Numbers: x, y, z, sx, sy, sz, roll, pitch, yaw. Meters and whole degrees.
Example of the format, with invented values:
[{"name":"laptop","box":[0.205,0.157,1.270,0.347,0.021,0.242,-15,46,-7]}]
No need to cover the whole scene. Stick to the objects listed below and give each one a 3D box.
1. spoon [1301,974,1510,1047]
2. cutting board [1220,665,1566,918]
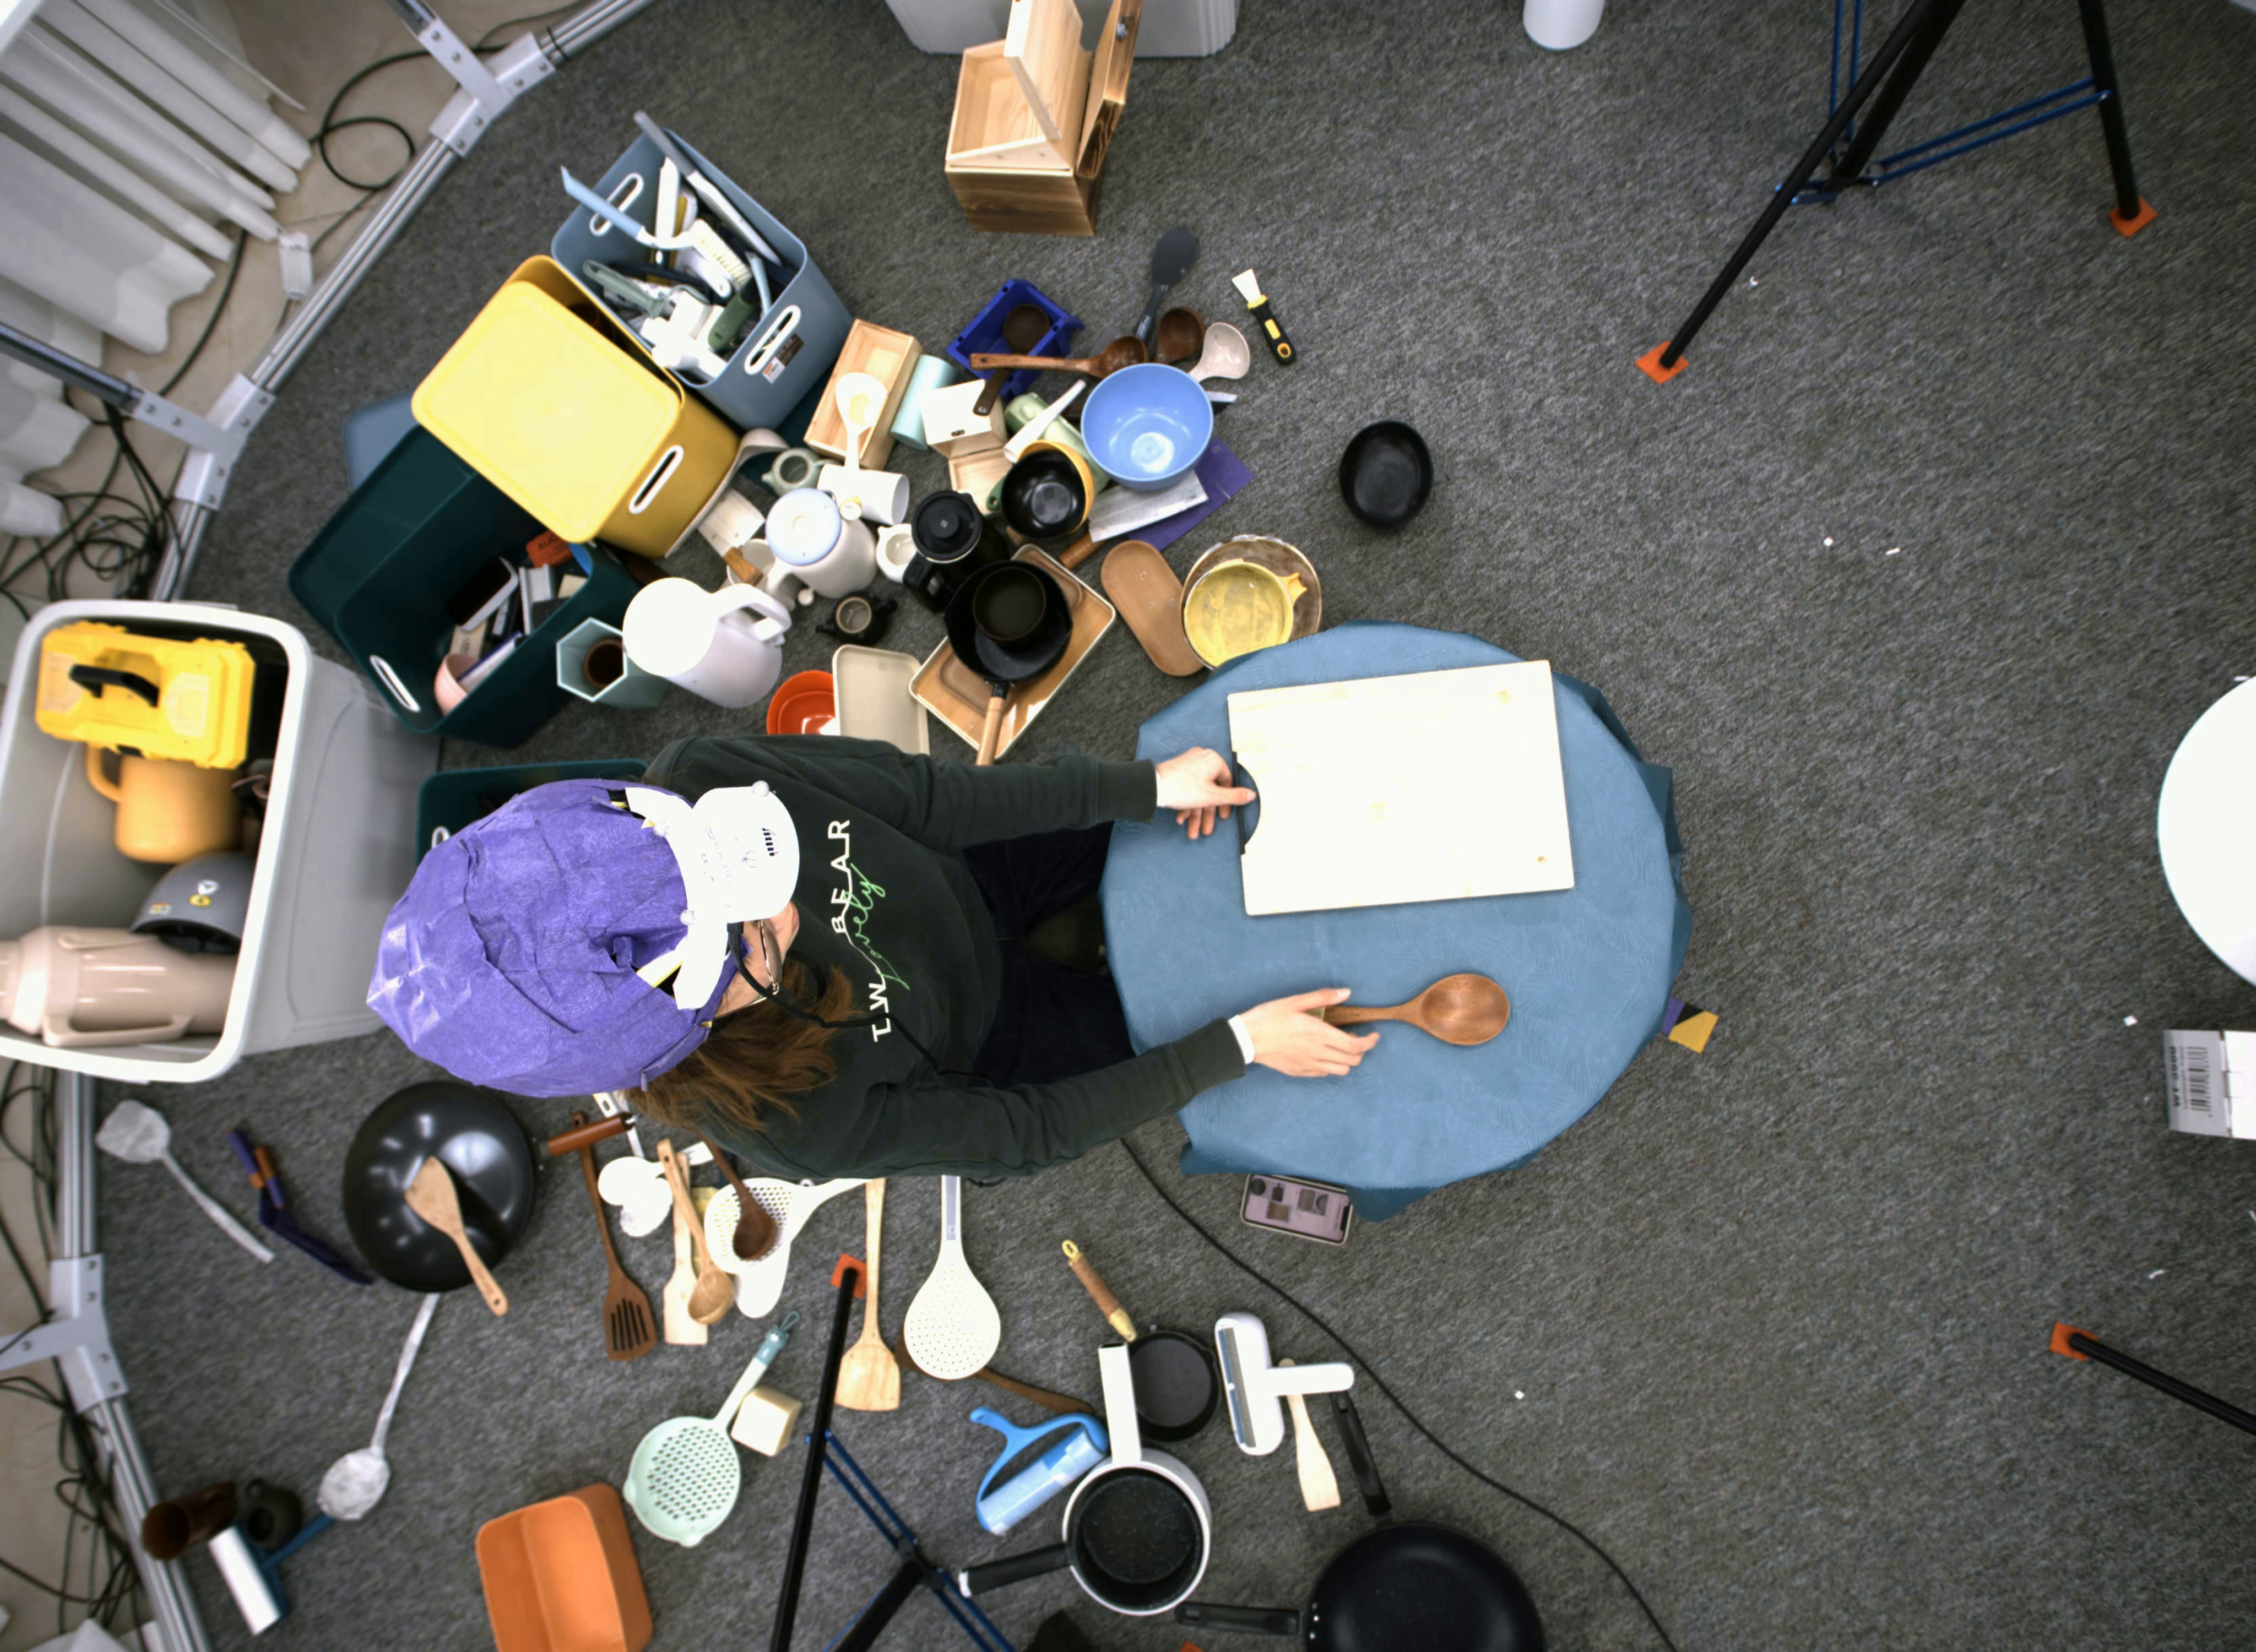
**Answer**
[{"name":"spoon","box":[0.289,0.195,1.444,0.217,0.017,0.075,-5,86,9]},{"name":"cutting board","box":[0.280,-0.037,1.462,0.350,0.023,0.249,-6,84,10]}]
